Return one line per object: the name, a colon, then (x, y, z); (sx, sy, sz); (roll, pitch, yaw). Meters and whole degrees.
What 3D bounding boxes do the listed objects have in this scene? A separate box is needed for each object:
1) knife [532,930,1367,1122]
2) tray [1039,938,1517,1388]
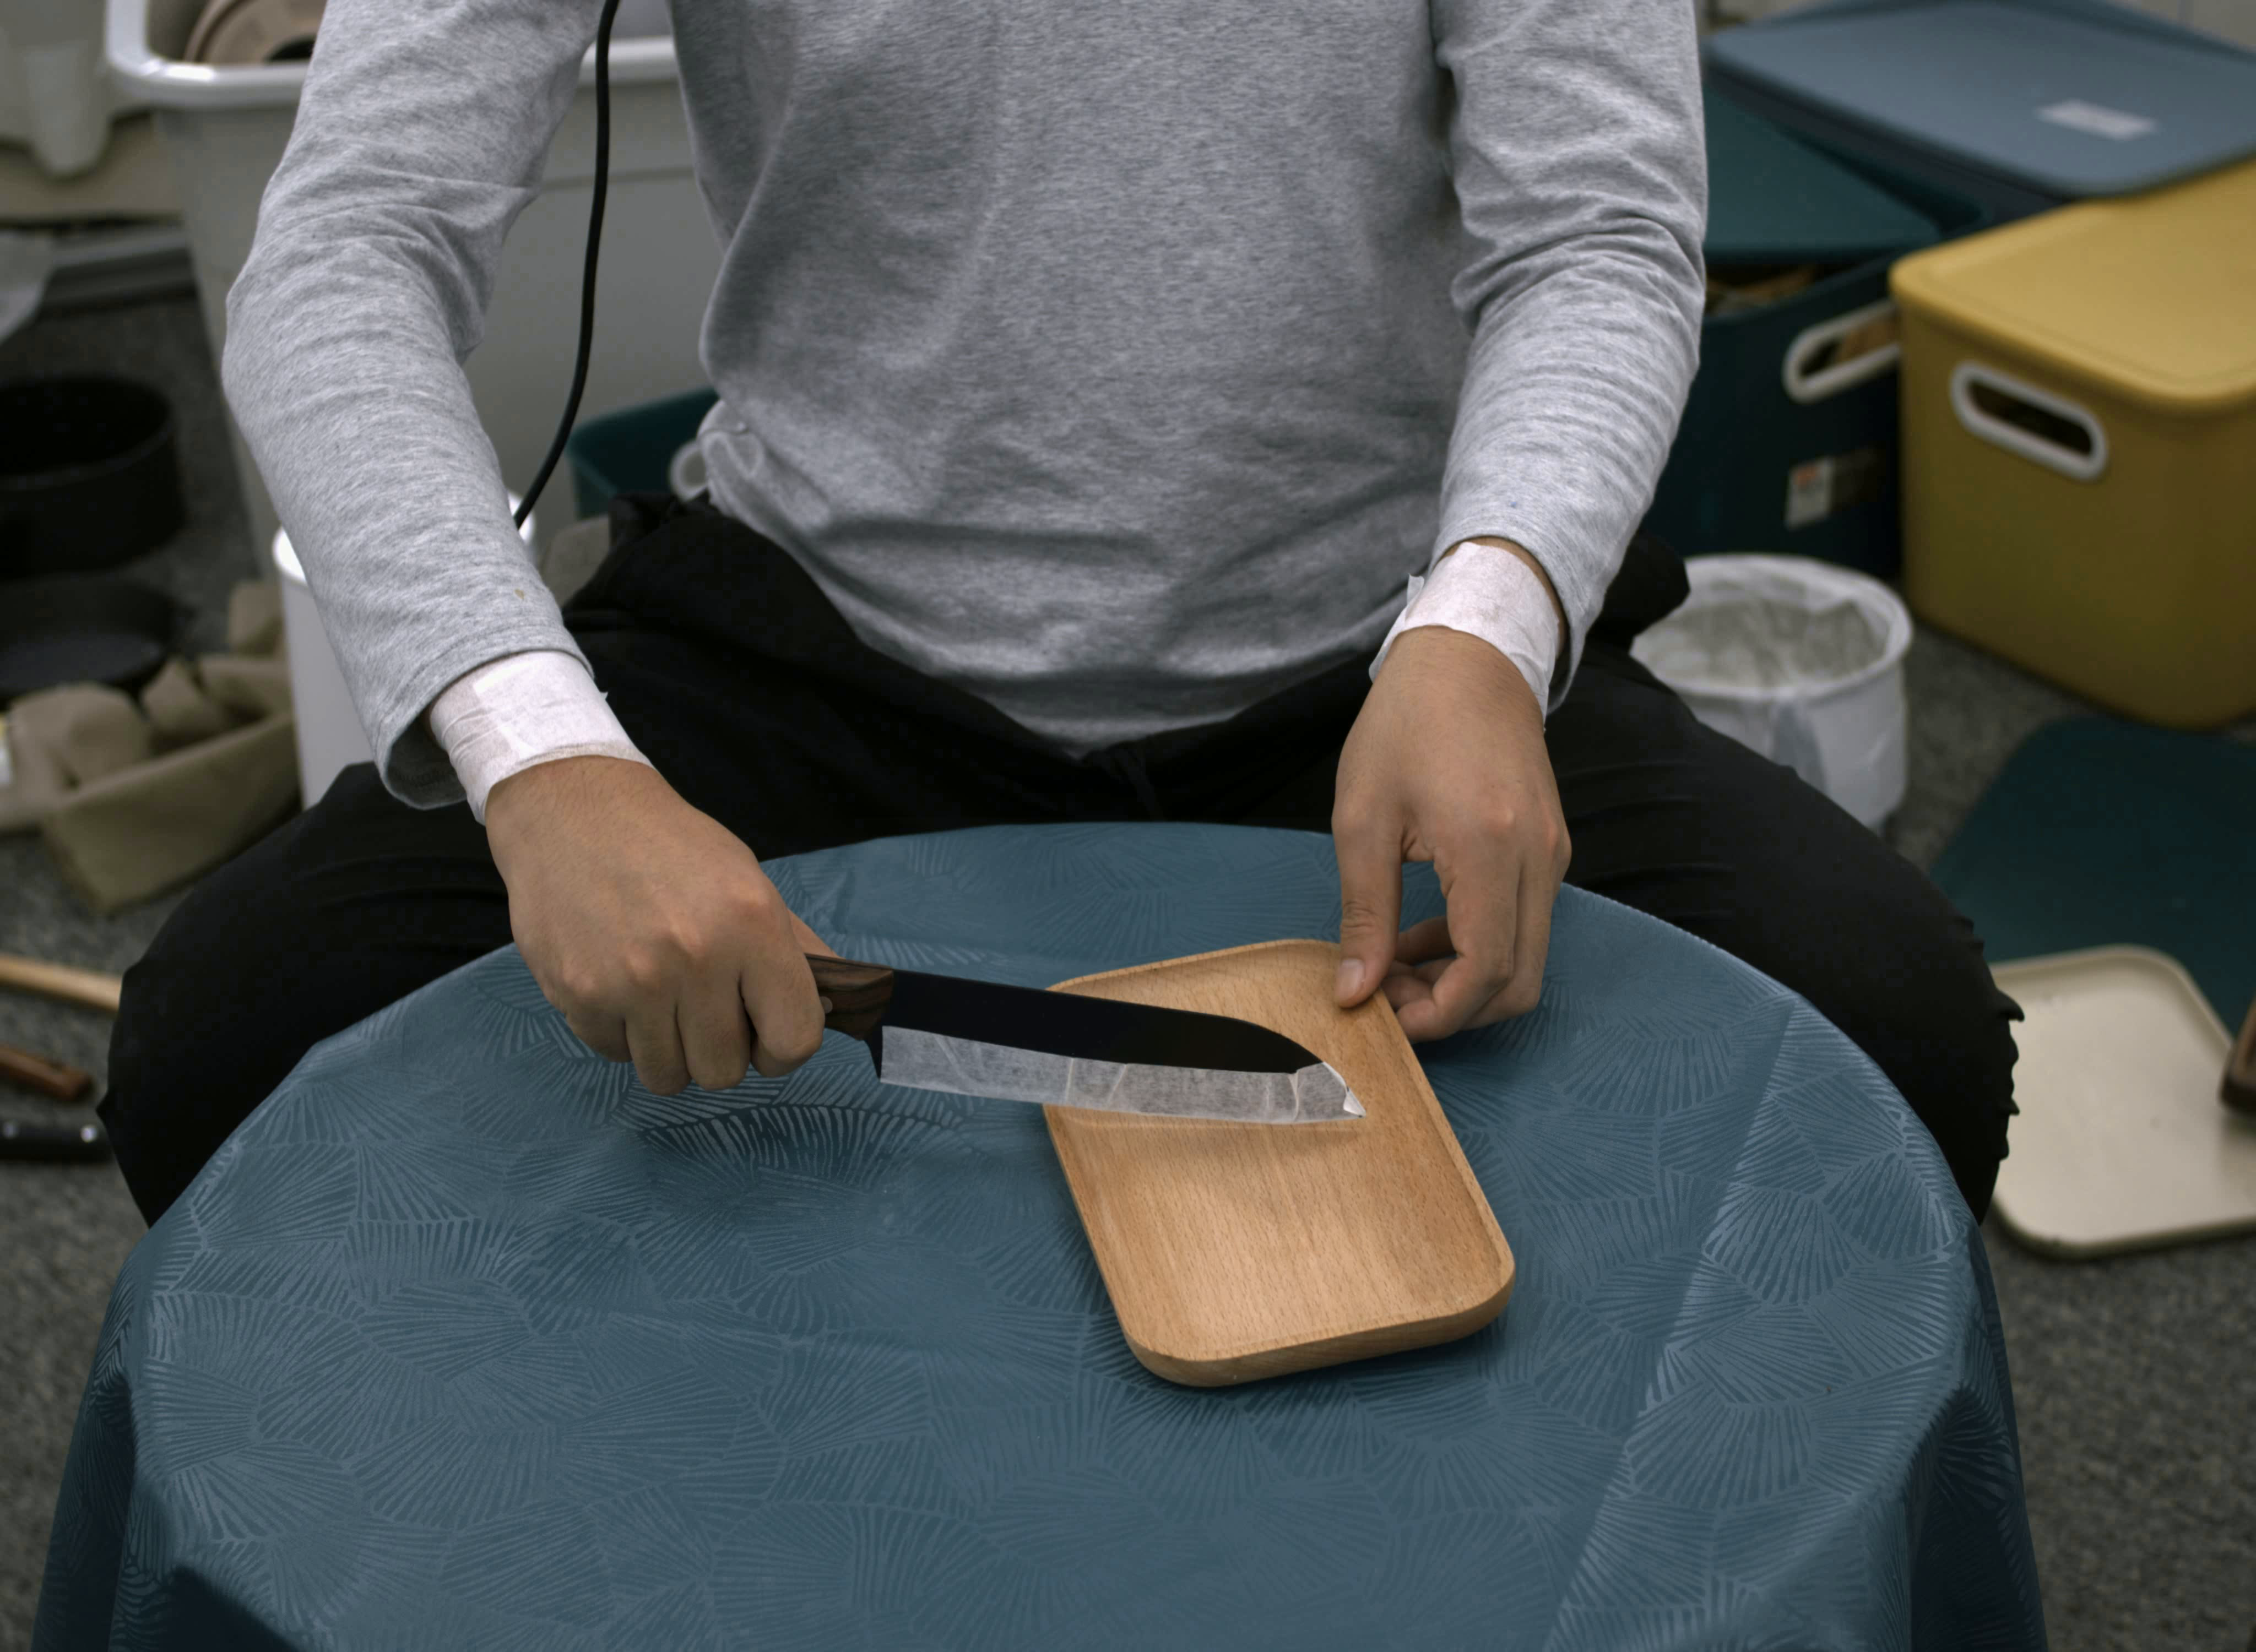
knife: (-0.061, 0.068, 1.882); (0.287, 0.049, 0.020); (9, 27, 9)
tray: (0.043, 0.109, 1.860); (0.130, 0.022, 0.253); (-7, 27, -7)
